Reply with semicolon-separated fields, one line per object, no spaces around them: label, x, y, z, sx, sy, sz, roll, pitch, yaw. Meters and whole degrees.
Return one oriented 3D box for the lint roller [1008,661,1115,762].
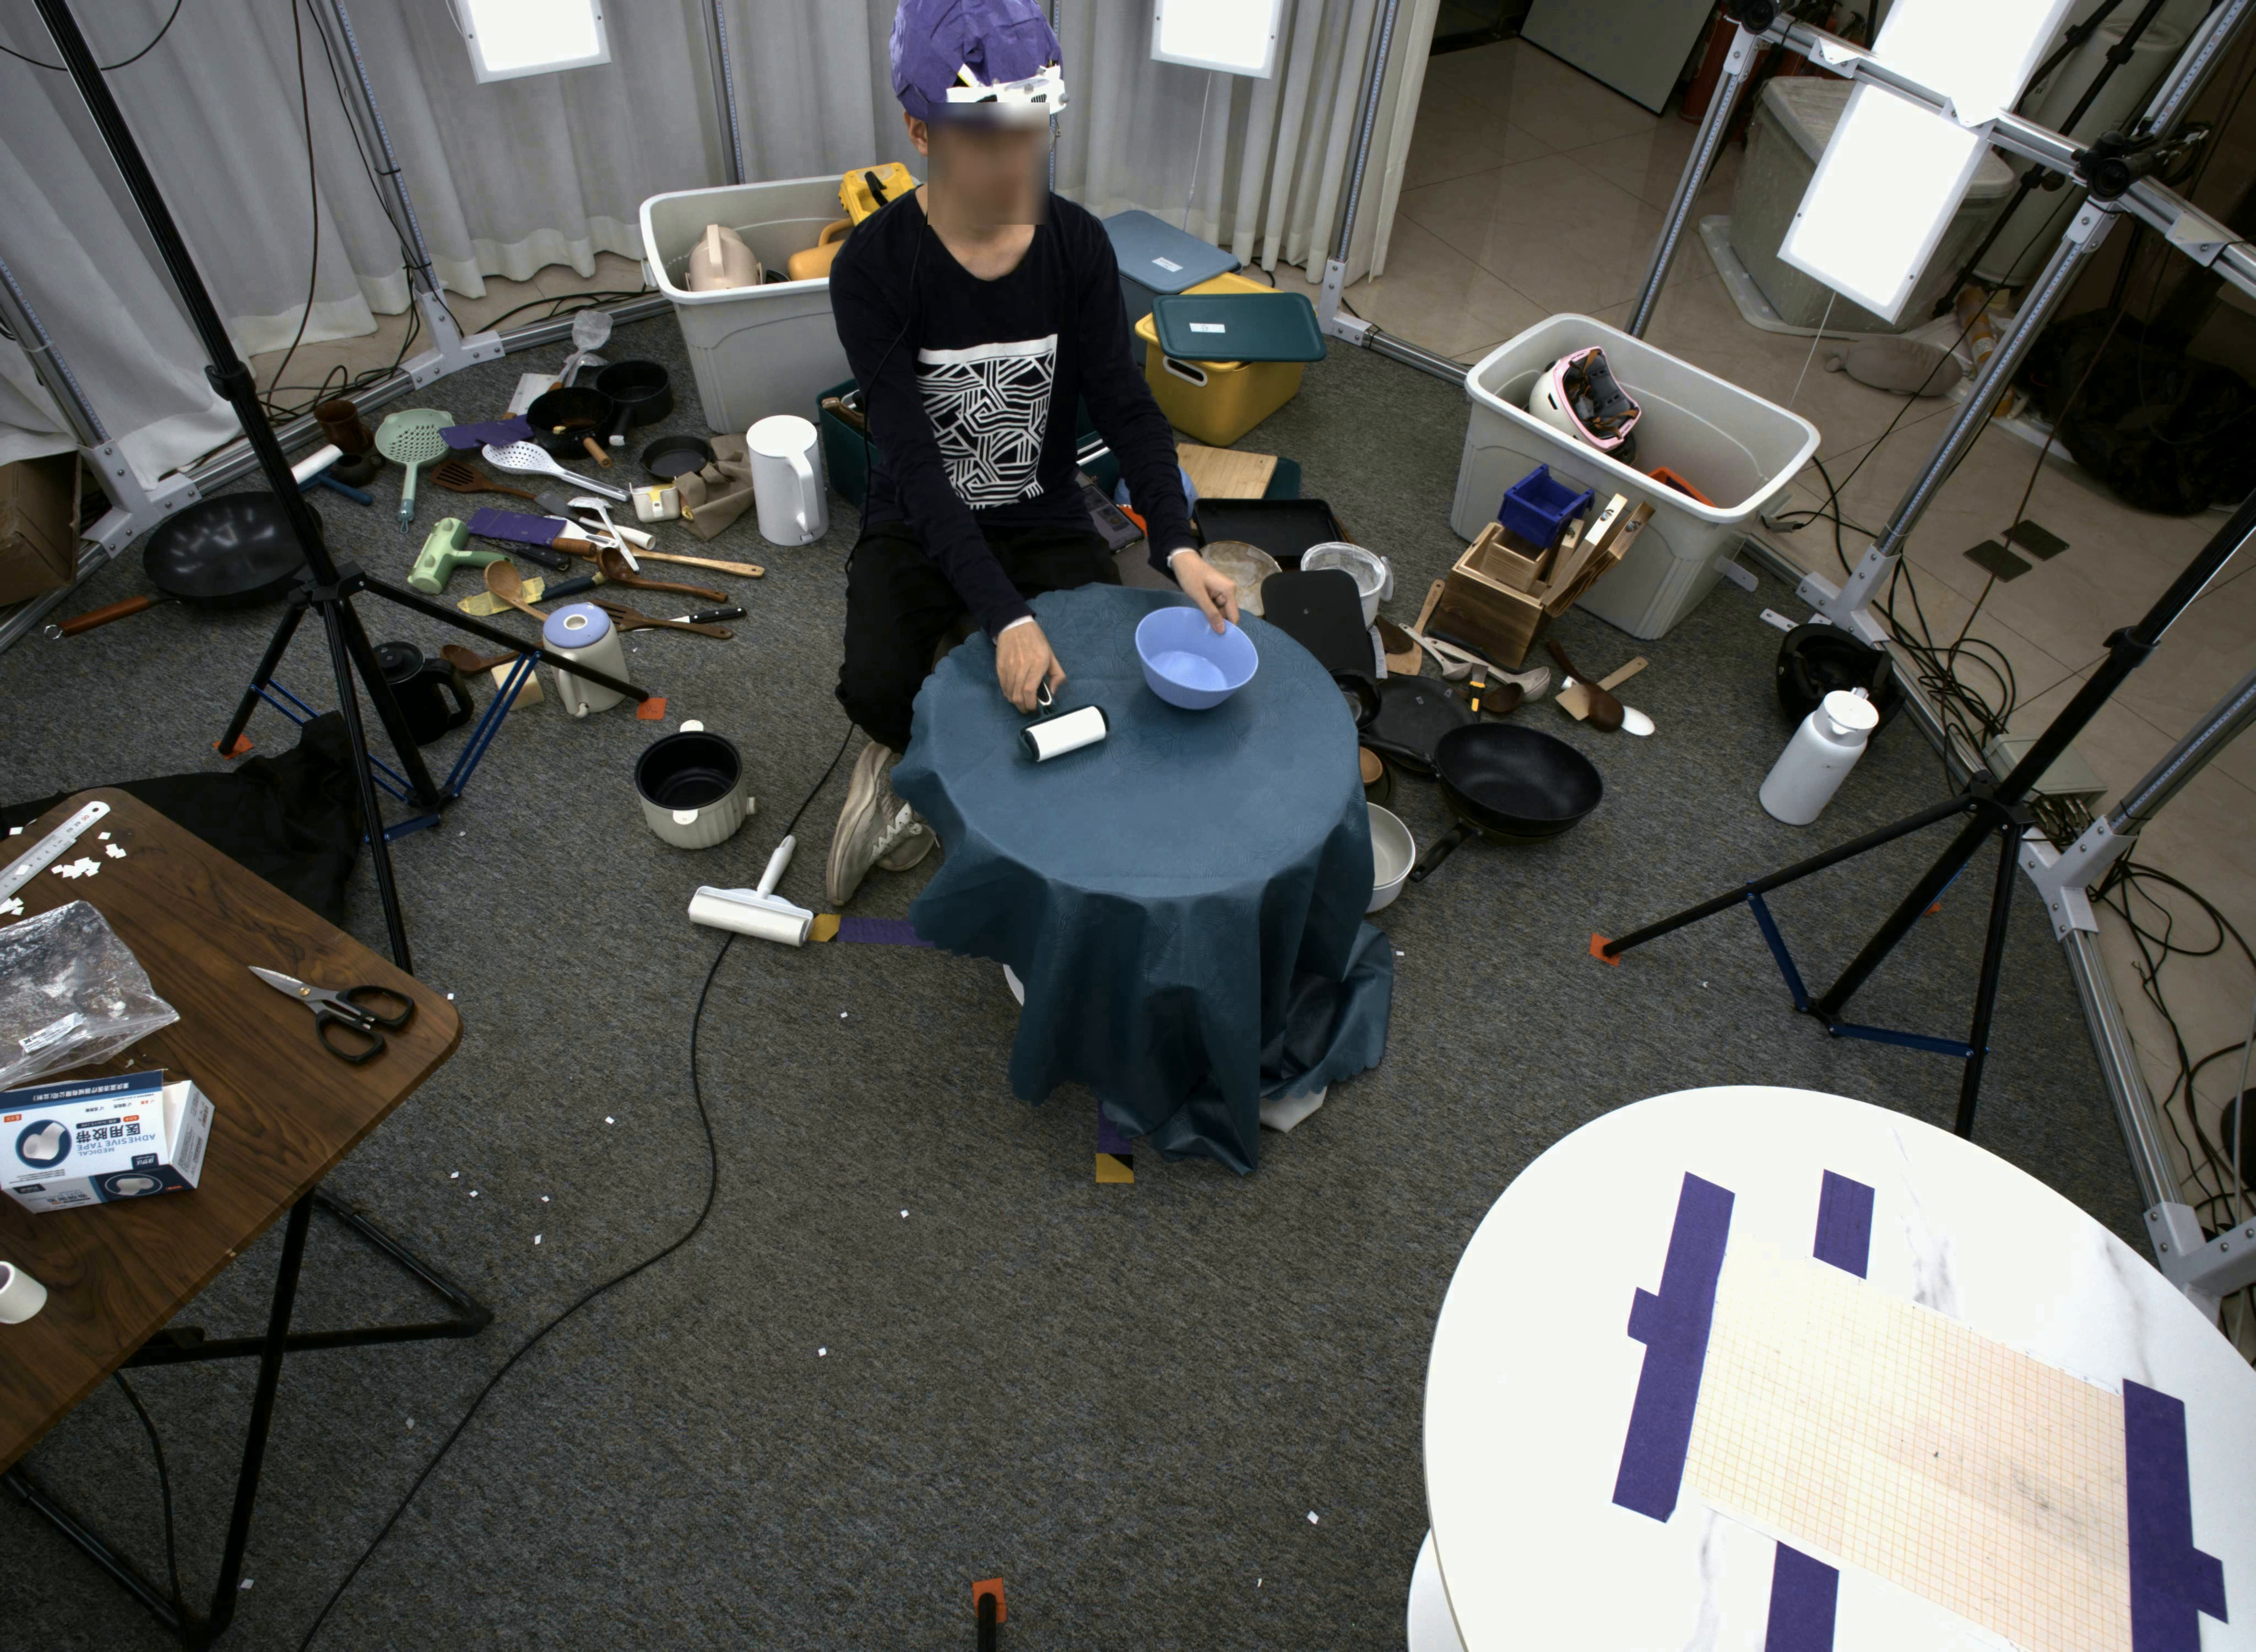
lint roller;-0.117;-0.176;1.769;0.134;0.047;0.183;-21;61;-20

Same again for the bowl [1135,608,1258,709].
bowl;0.090;-0.226;1.805;0.175;0.069;0.180;7;46;-8
